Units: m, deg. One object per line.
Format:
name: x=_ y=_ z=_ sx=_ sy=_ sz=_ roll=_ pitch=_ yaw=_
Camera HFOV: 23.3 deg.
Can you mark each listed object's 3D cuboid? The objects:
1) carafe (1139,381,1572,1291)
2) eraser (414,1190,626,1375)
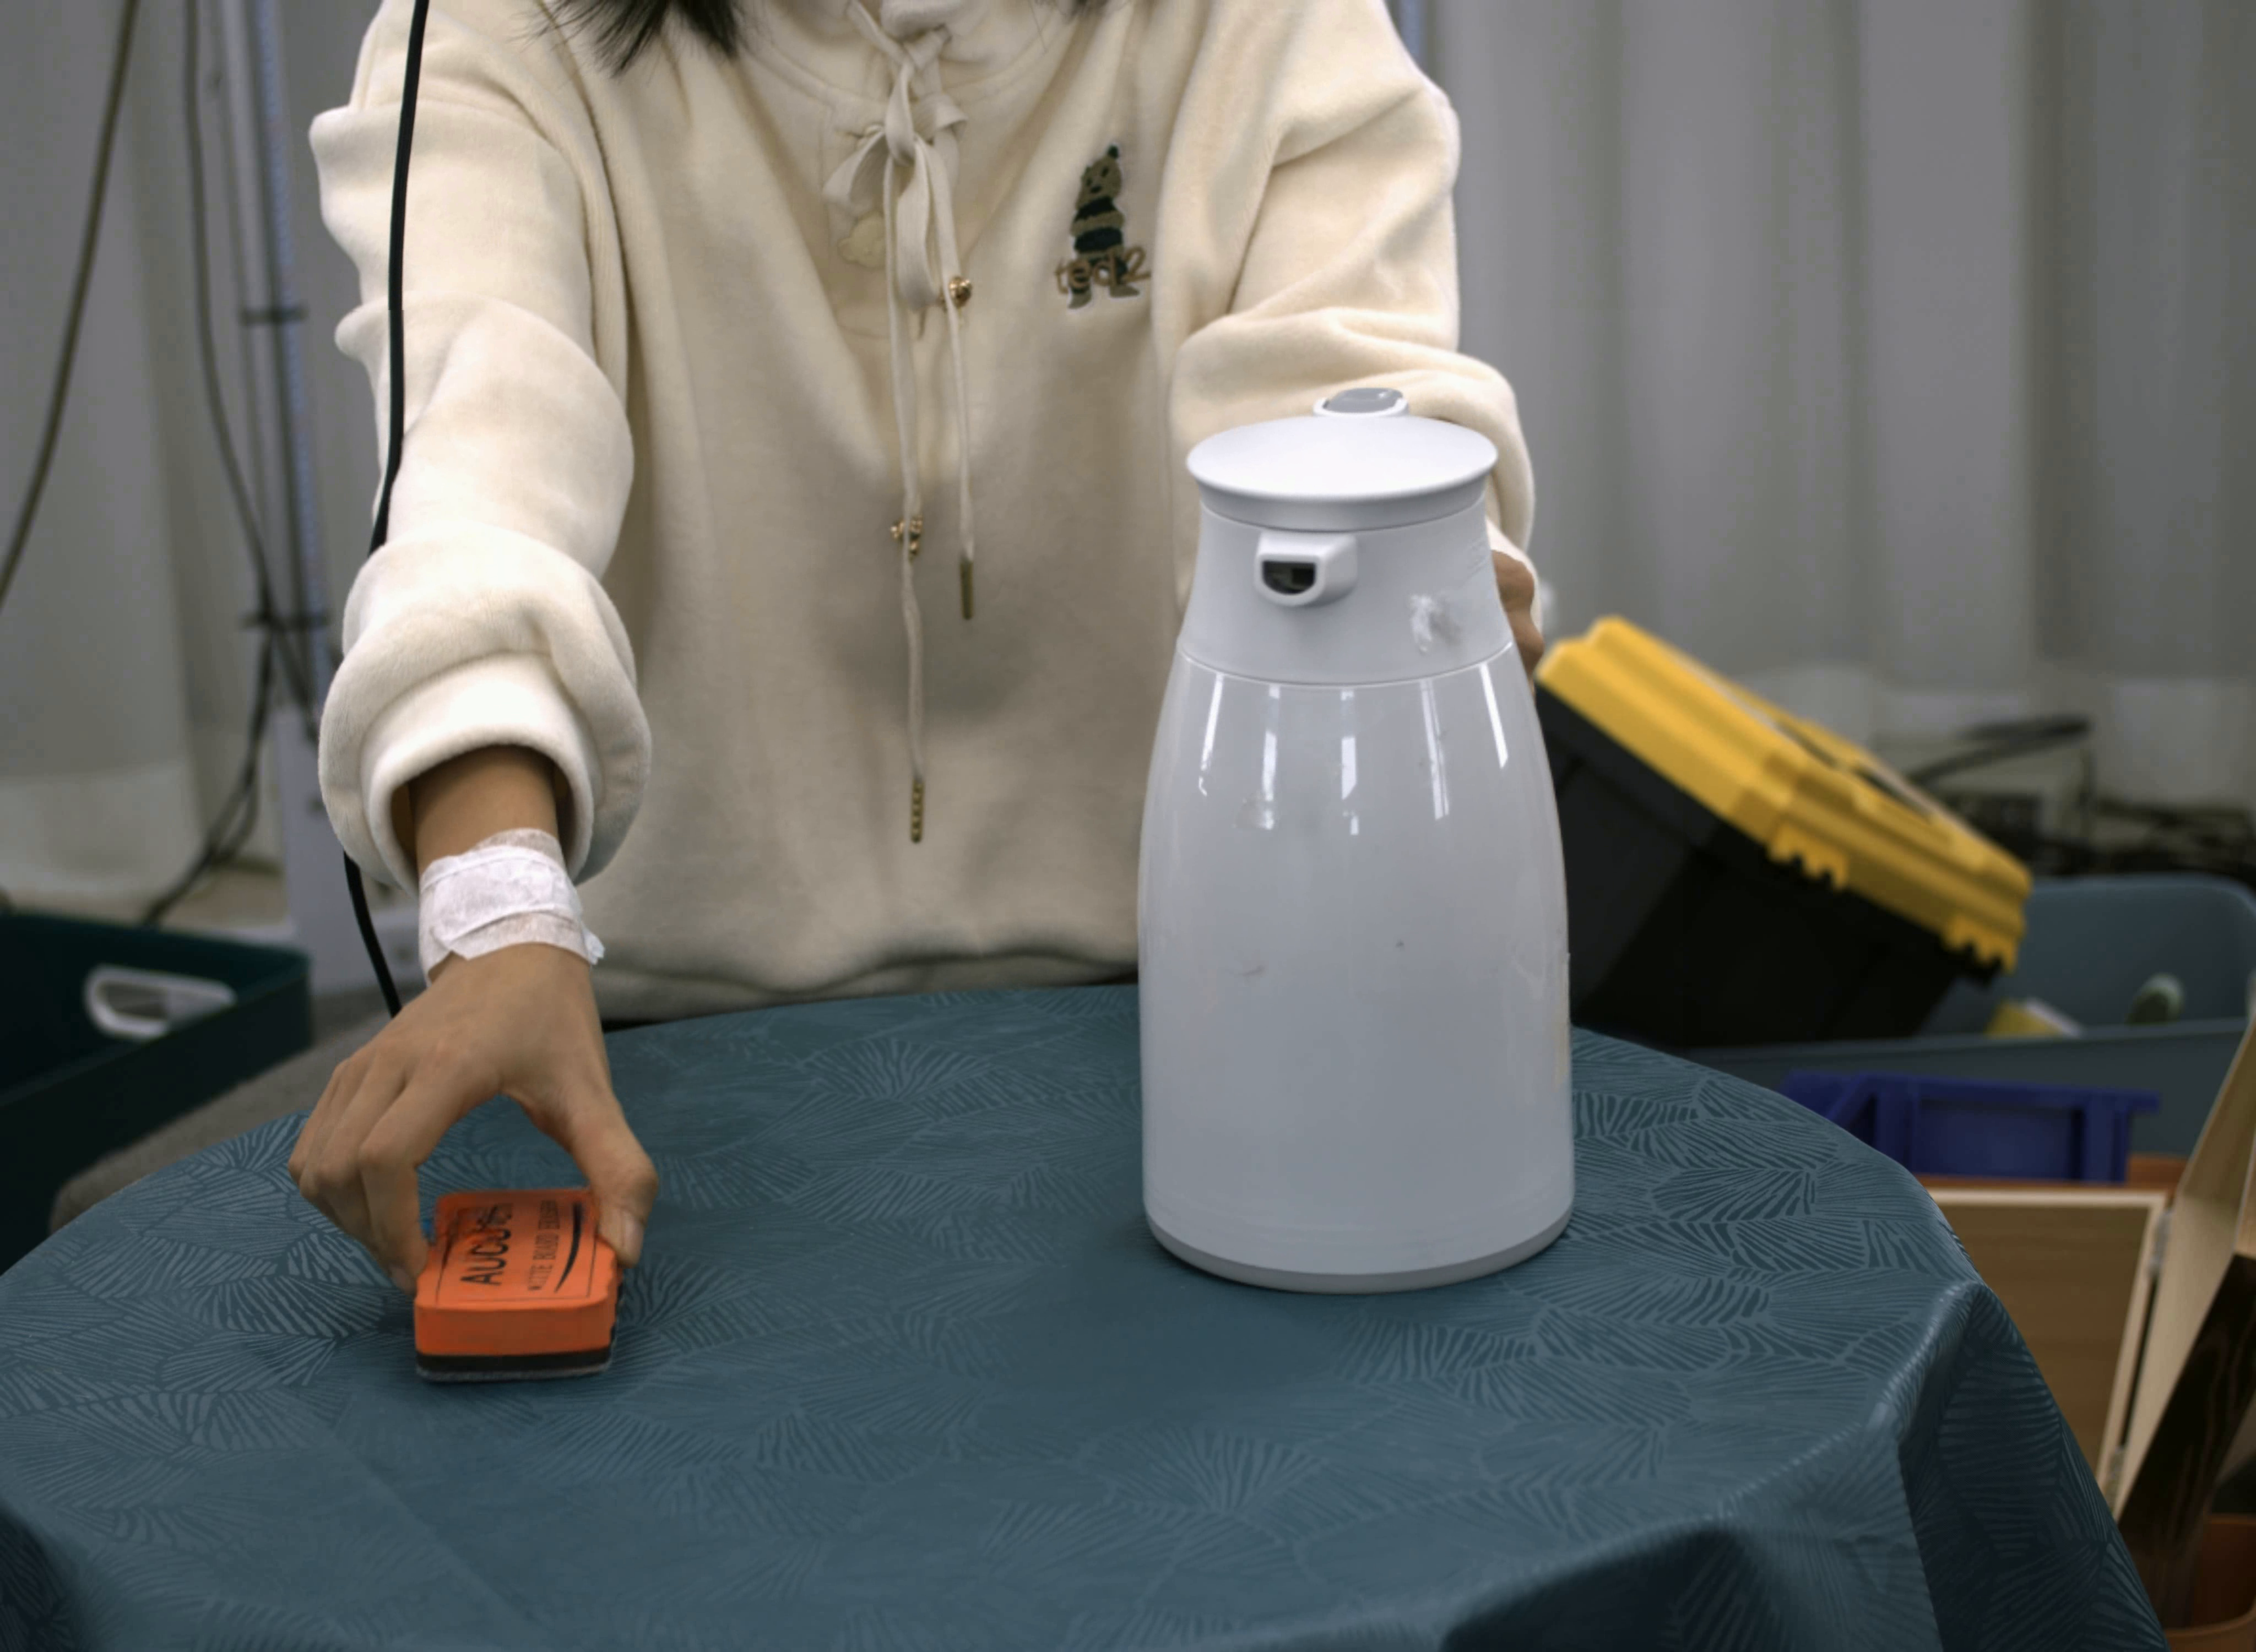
carafe: x=0.071 y=-0.006 z=1.654 sx=0.132 sy=0.247 sz=0.168 roll=3 pitch=17 yaw=15
eraser: x=-0.179 y=0.135 z=1.623 sx=0.059 sy=0.023 sz=0.109 roll=1 pitch=14 yaw=-3
